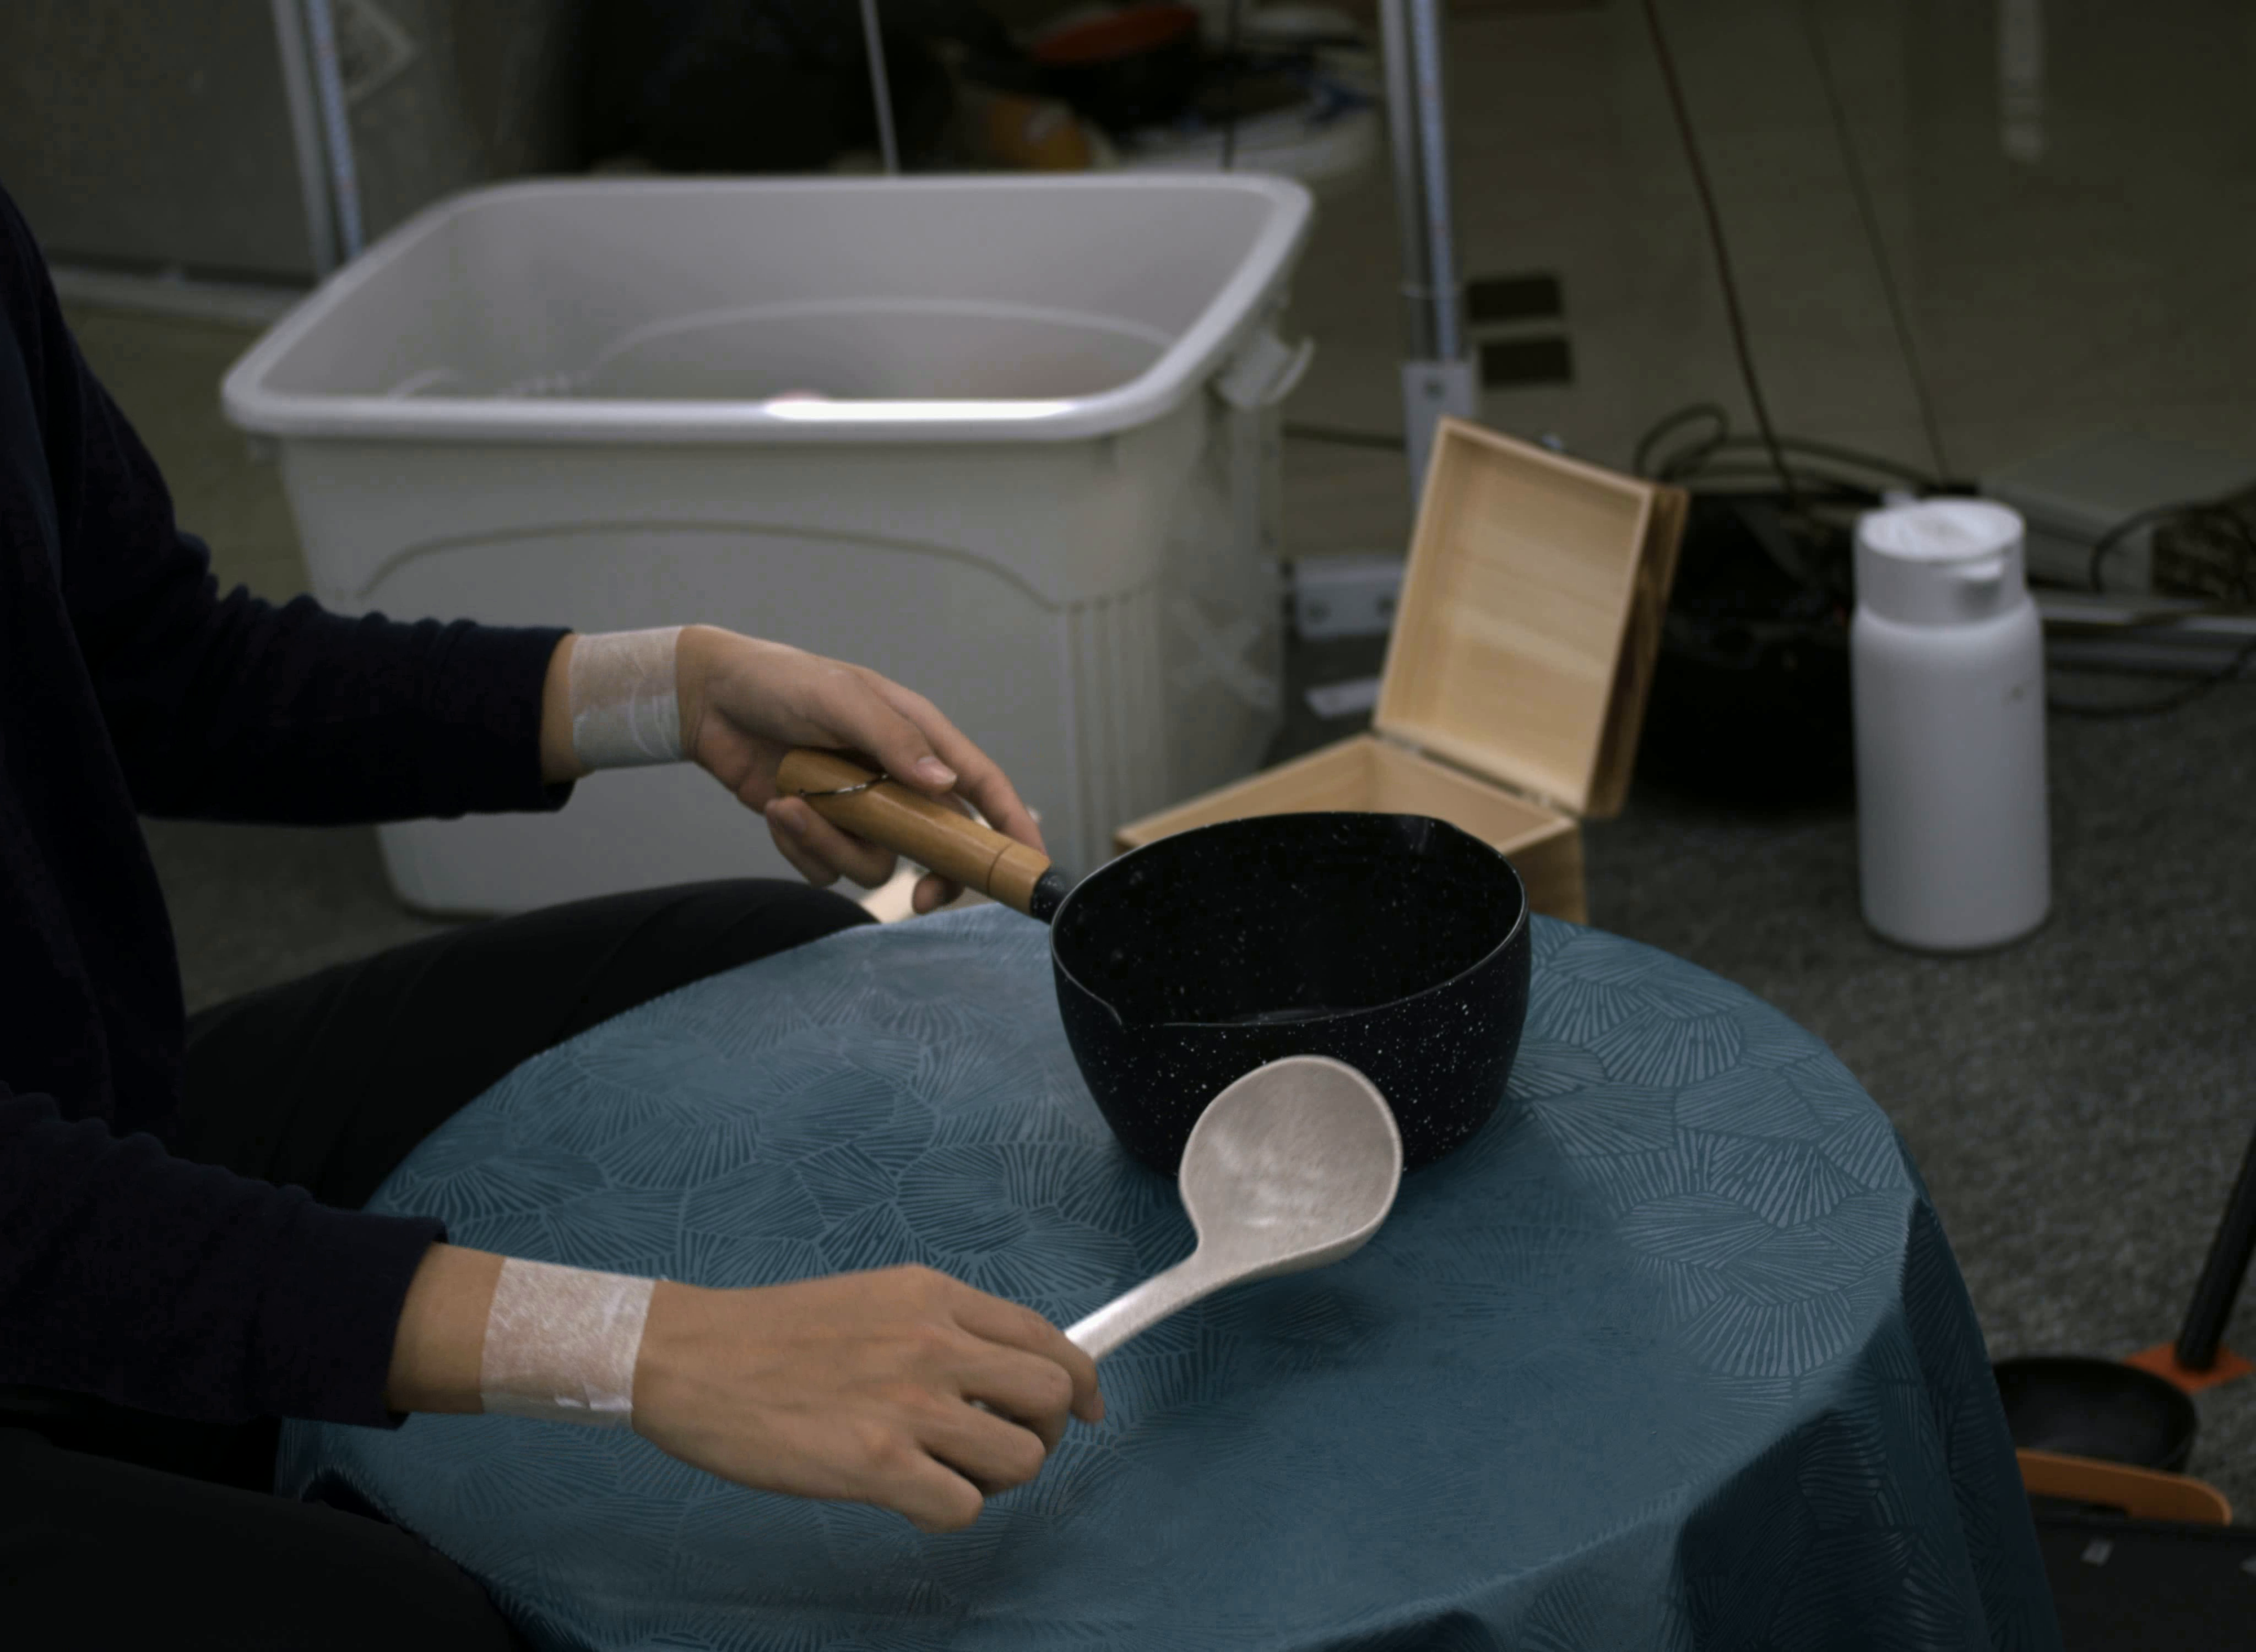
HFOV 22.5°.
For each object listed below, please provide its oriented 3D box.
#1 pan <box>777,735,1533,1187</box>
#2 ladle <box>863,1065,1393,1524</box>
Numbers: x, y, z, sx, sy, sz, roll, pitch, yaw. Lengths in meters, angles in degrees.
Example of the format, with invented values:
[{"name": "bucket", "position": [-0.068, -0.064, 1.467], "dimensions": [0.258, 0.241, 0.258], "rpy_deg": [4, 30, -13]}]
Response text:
[{"name": "pan", "position": [0.000, 0.046, 2.215], "dimensions": [0.341, 0.110, 0.205], "rpy_deg": [14, 33, 34]}, {"name": "ladle", "position": [-0.006, 0.157, 1.955], "dimensions": [0.089, 0.070, 0.272], "rpy_deg": [13, 24, 33]}]
